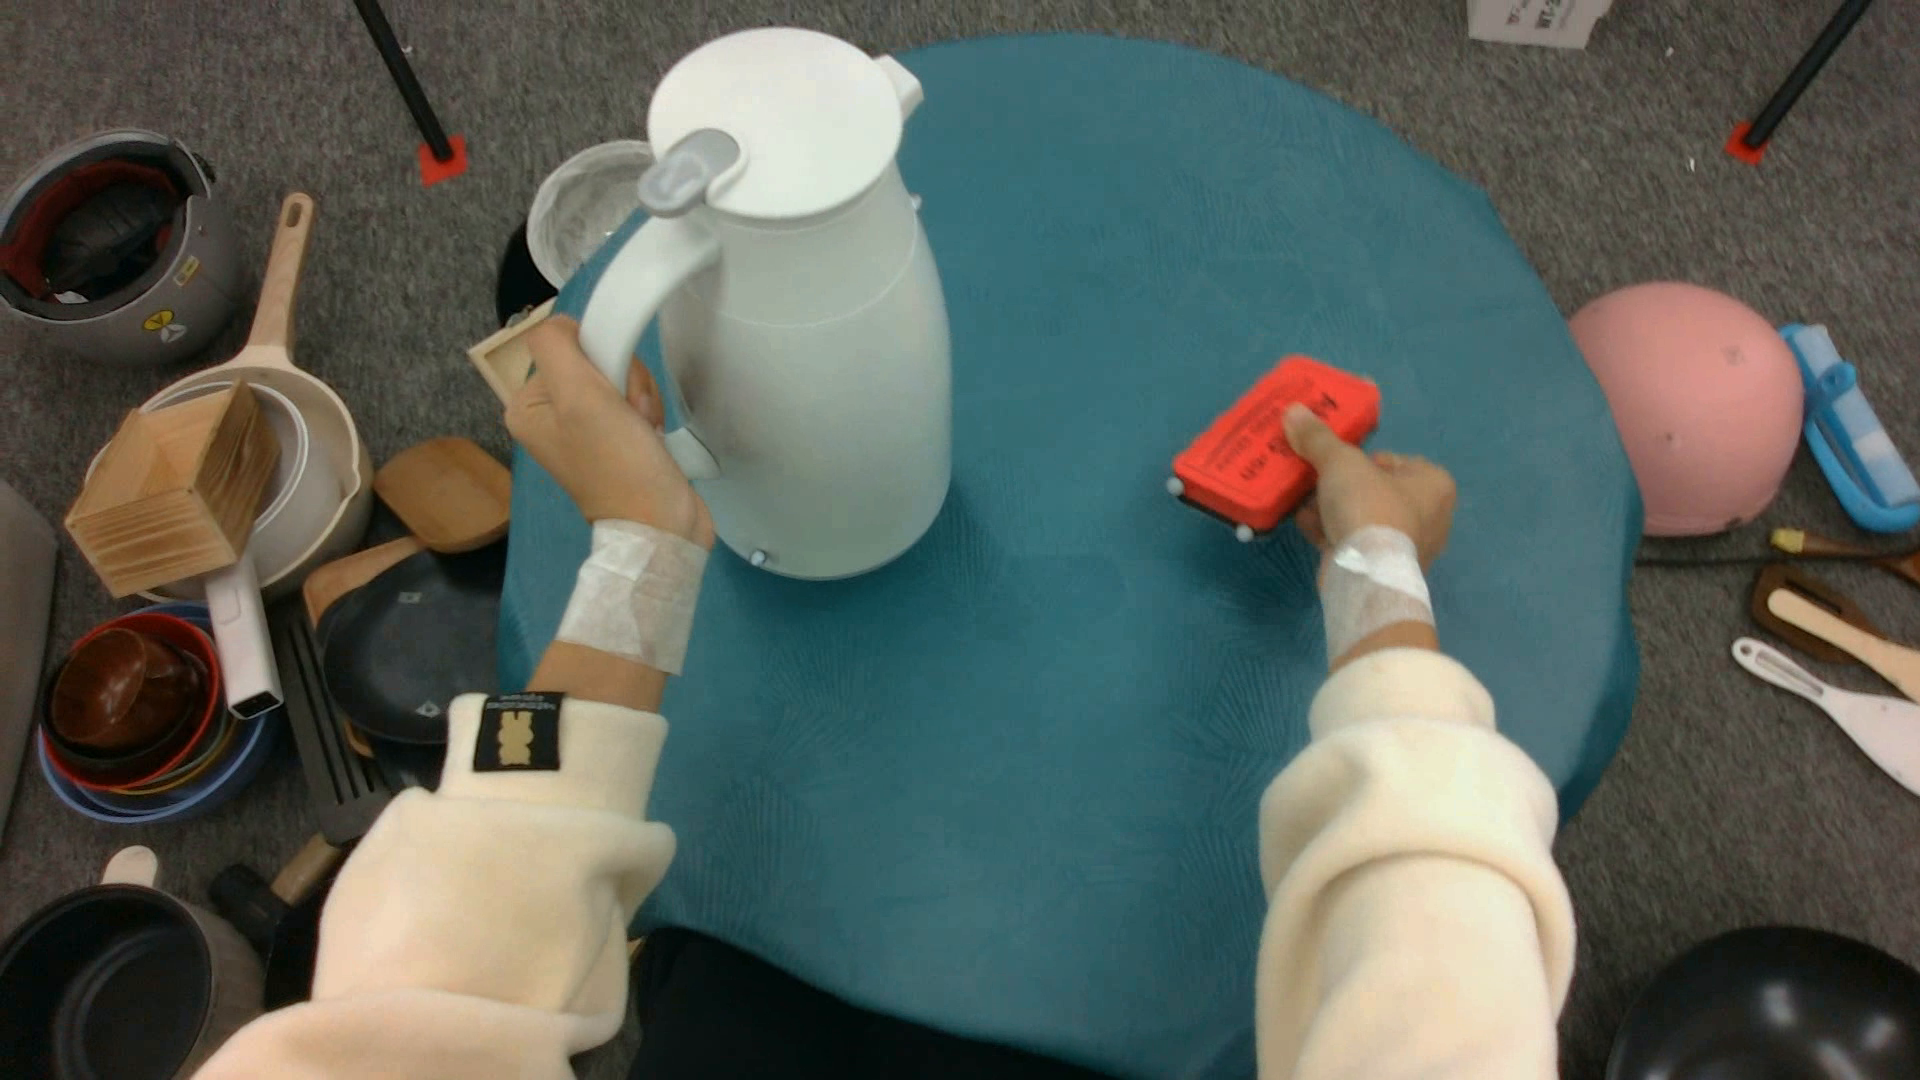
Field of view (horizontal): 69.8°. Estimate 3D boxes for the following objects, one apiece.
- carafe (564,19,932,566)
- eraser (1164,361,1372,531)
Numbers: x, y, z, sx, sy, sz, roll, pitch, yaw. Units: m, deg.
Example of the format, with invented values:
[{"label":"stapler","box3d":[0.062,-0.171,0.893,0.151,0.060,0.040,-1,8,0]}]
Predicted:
[{"label":"carafe","box3d":[-0.089,-0.090,0.596,0.168,0.247,0.132,-41,71,-21]},{"label":"eraser","box3d":[0.158,-0.050,0.704,0.108,0.023,0.059,-35,52,-28]}]
